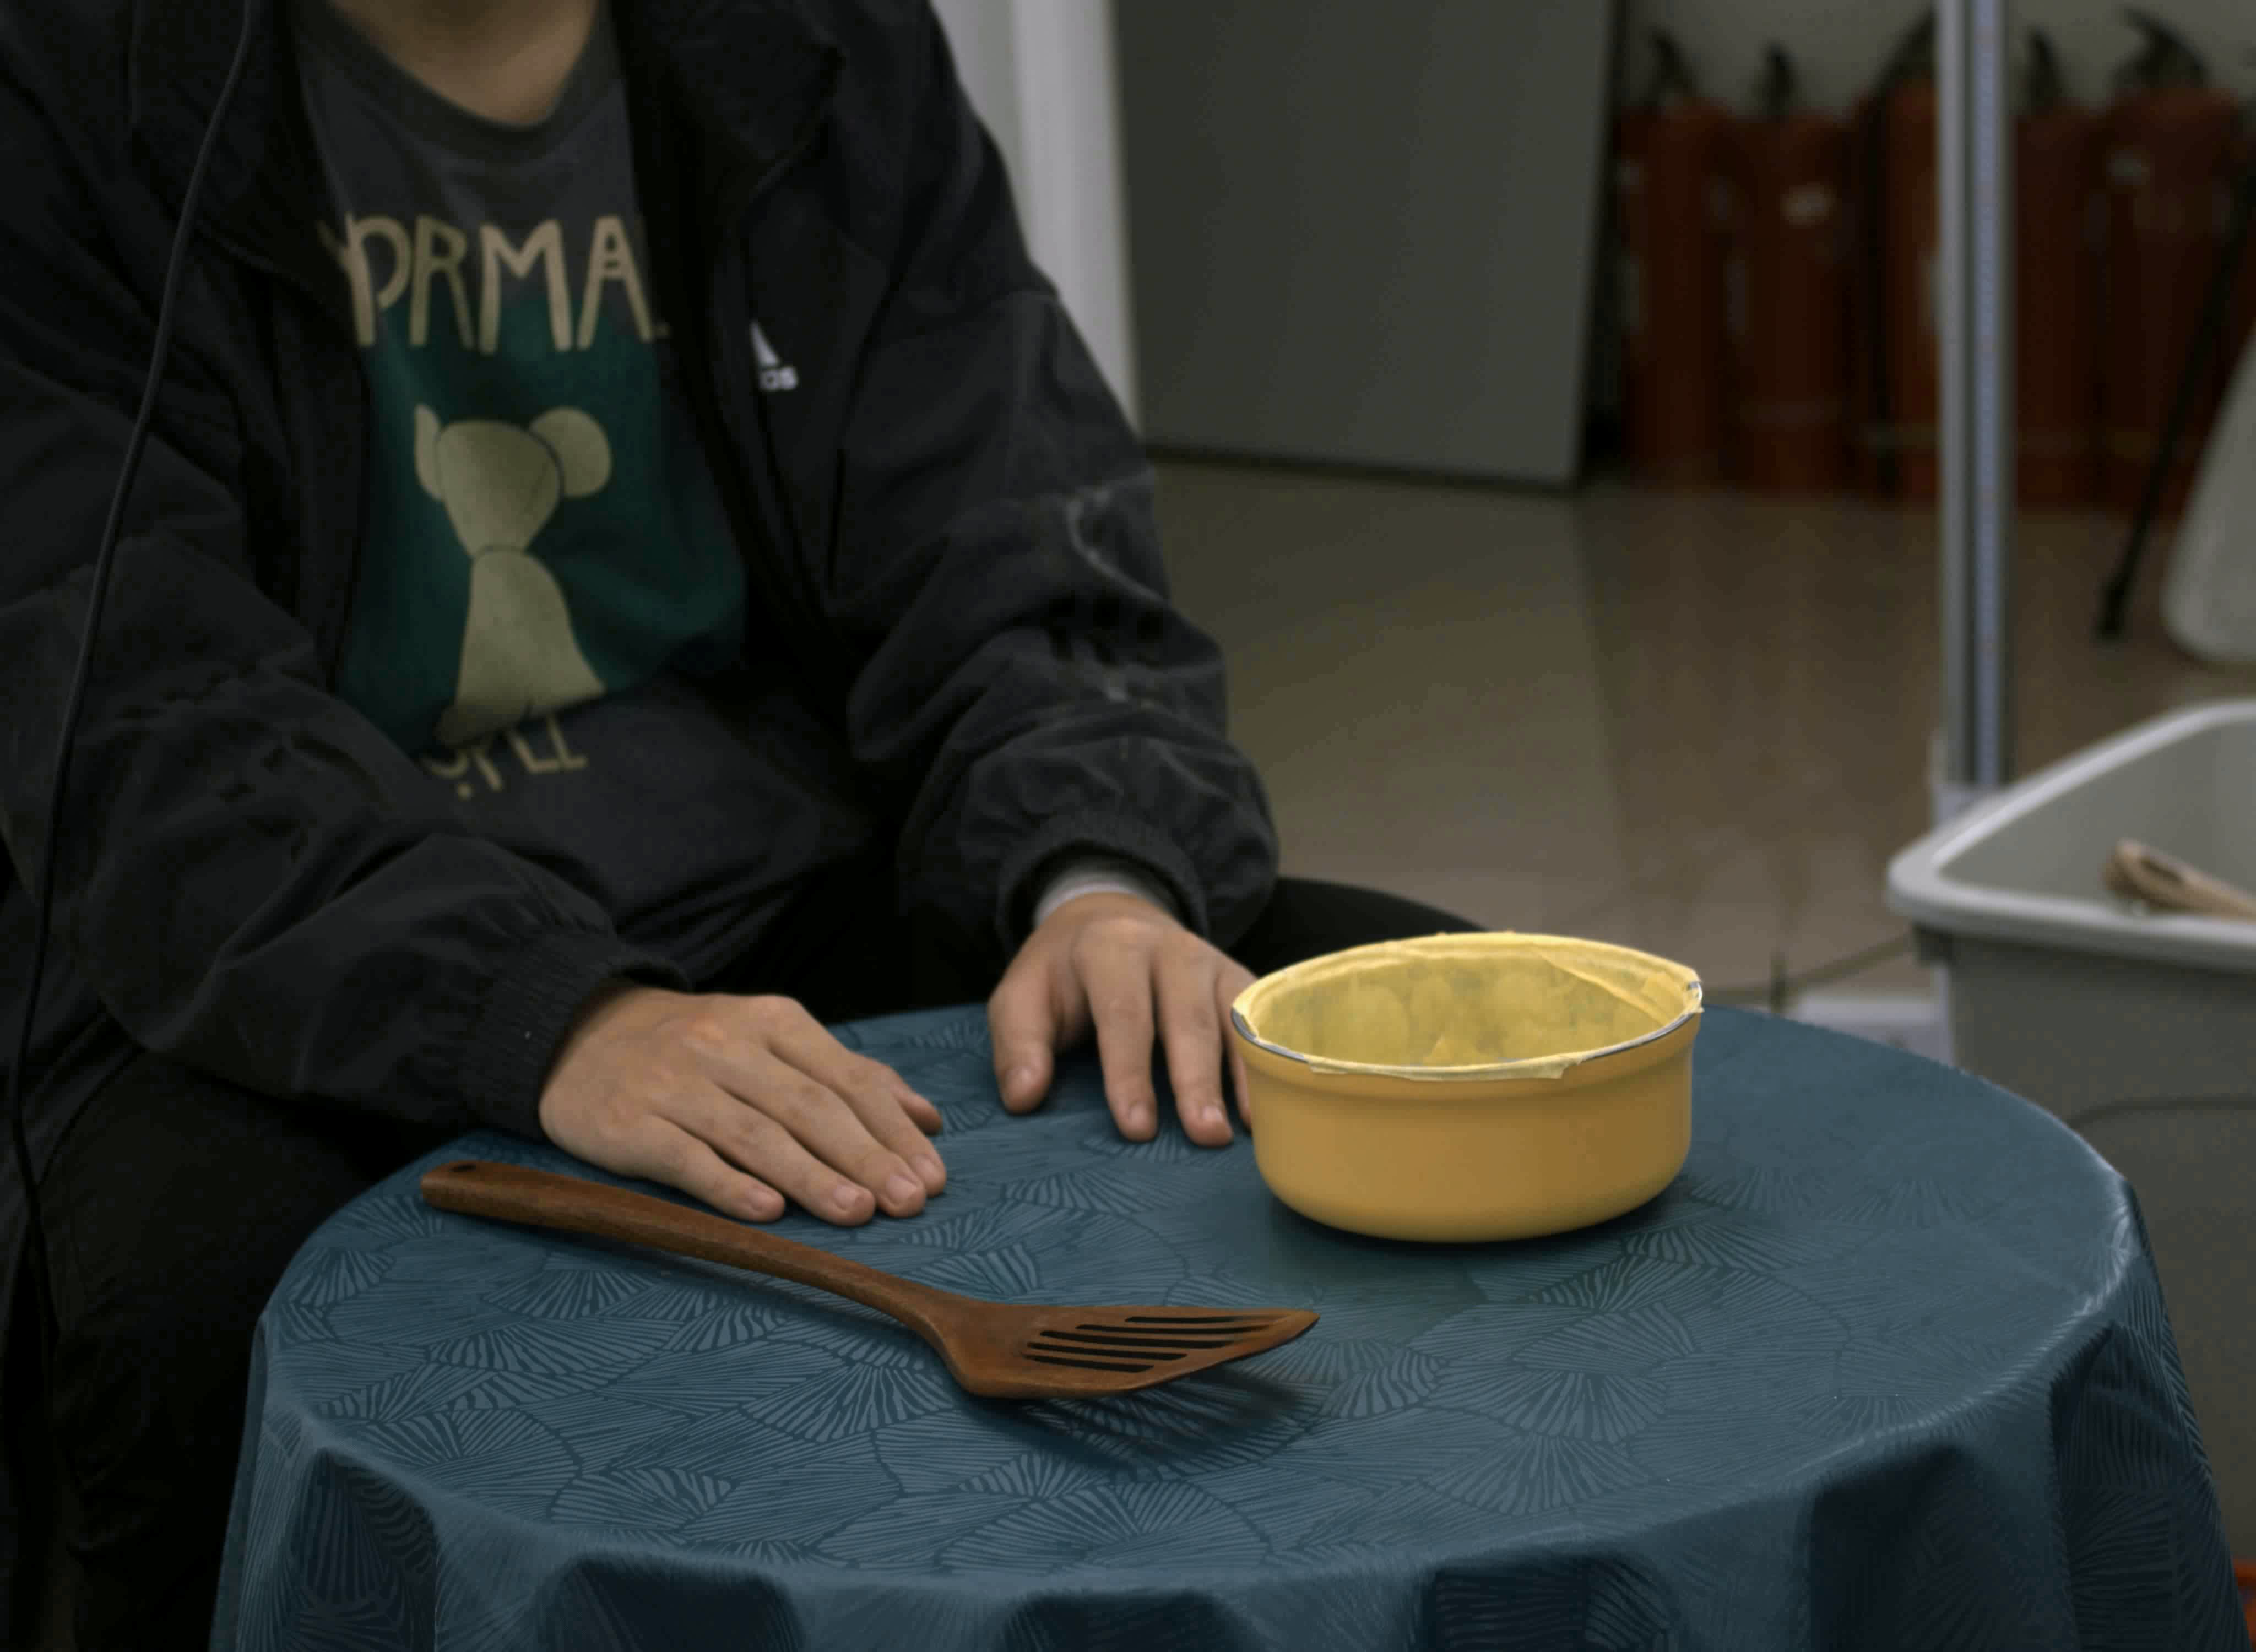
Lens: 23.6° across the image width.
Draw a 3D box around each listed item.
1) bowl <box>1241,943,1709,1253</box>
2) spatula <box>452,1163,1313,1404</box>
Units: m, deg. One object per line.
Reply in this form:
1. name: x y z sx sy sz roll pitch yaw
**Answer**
1. bowl: 0.113 0.087 1.751 0.151 0.075 0.179 -3 14 2
2. spatula: -0.095 0.141 1.682 0.084 0.024 0.390 -15 16 -40
